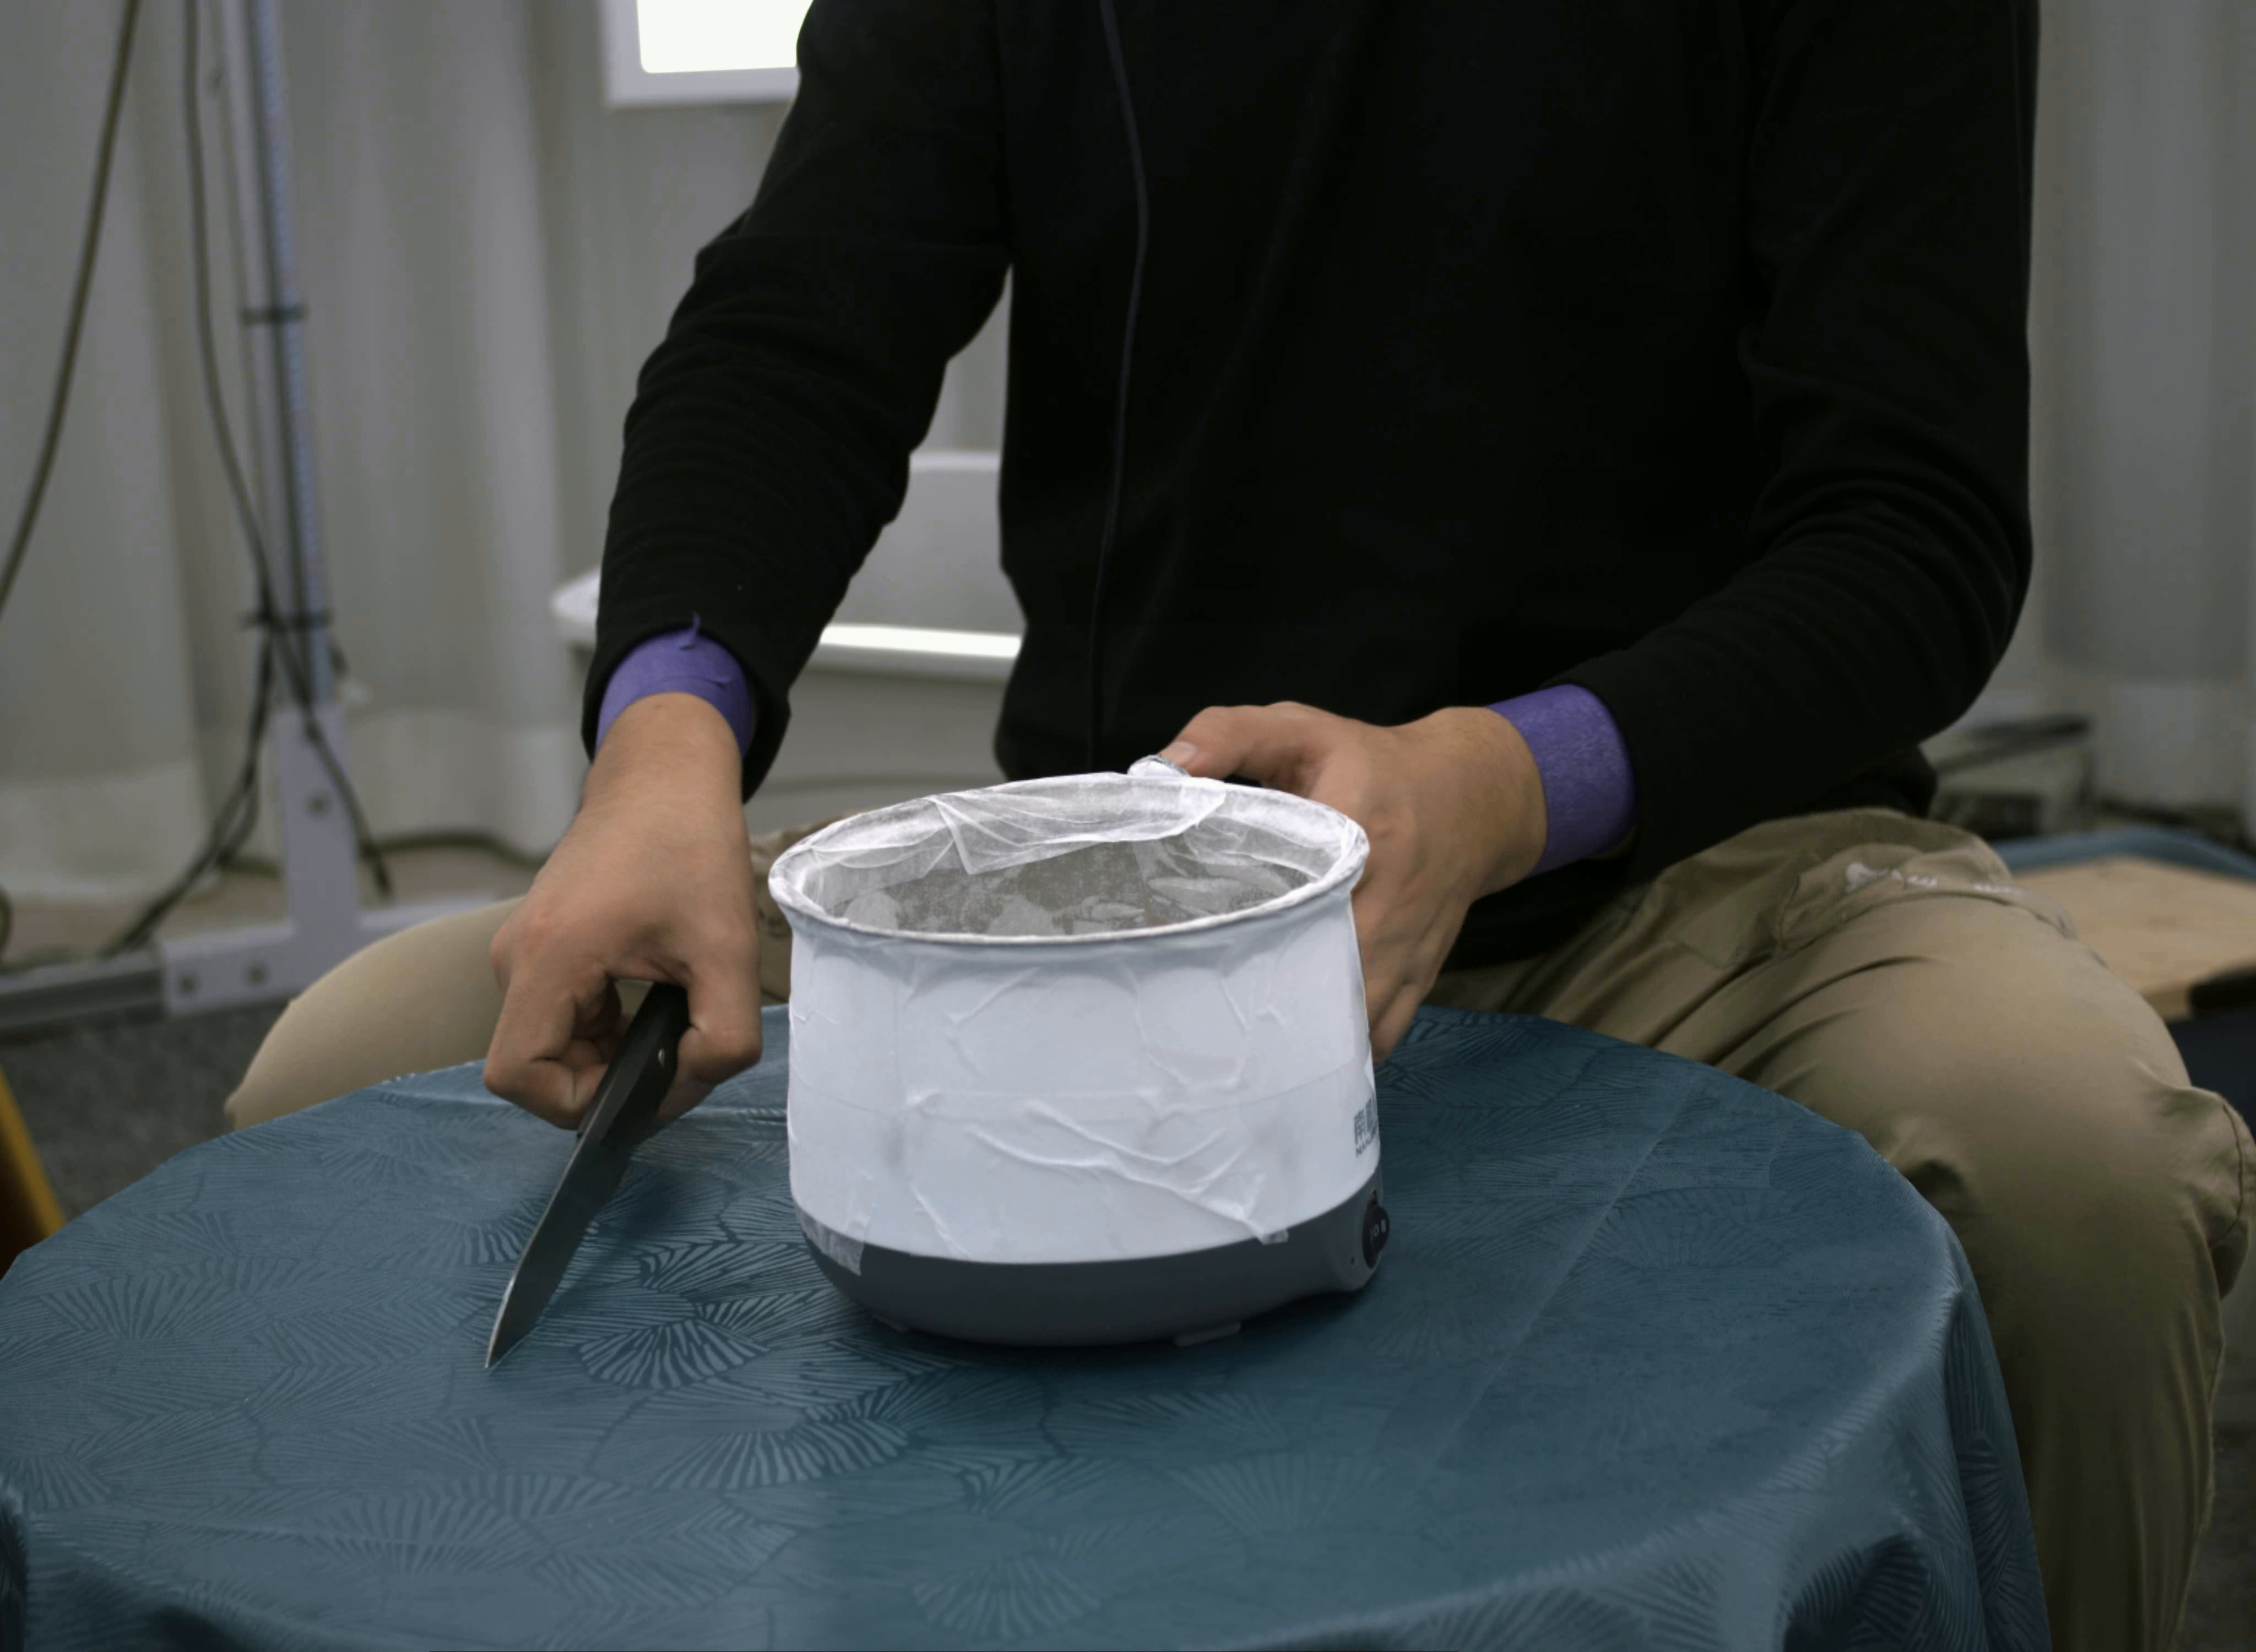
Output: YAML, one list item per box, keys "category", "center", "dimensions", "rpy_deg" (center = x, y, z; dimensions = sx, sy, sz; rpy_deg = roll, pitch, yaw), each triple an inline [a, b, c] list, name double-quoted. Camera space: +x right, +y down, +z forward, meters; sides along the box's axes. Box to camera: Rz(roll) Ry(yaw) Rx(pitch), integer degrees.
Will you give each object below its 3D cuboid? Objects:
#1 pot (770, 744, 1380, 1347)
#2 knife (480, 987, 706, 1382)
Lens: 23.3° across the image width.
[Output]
- category: "pot"
  center: [-0.008, 0.060, 1.647]
  dimensions: [0.178, 0.136, 0.235]
  rpy_deg: [2, 16, 14]
- category: "knife"
  center: [-0.166, 0.107, 1.687]
  dimensions: [0.016, 0.024, 0.240]
  rpy_deg: [-16, 21, 18]
